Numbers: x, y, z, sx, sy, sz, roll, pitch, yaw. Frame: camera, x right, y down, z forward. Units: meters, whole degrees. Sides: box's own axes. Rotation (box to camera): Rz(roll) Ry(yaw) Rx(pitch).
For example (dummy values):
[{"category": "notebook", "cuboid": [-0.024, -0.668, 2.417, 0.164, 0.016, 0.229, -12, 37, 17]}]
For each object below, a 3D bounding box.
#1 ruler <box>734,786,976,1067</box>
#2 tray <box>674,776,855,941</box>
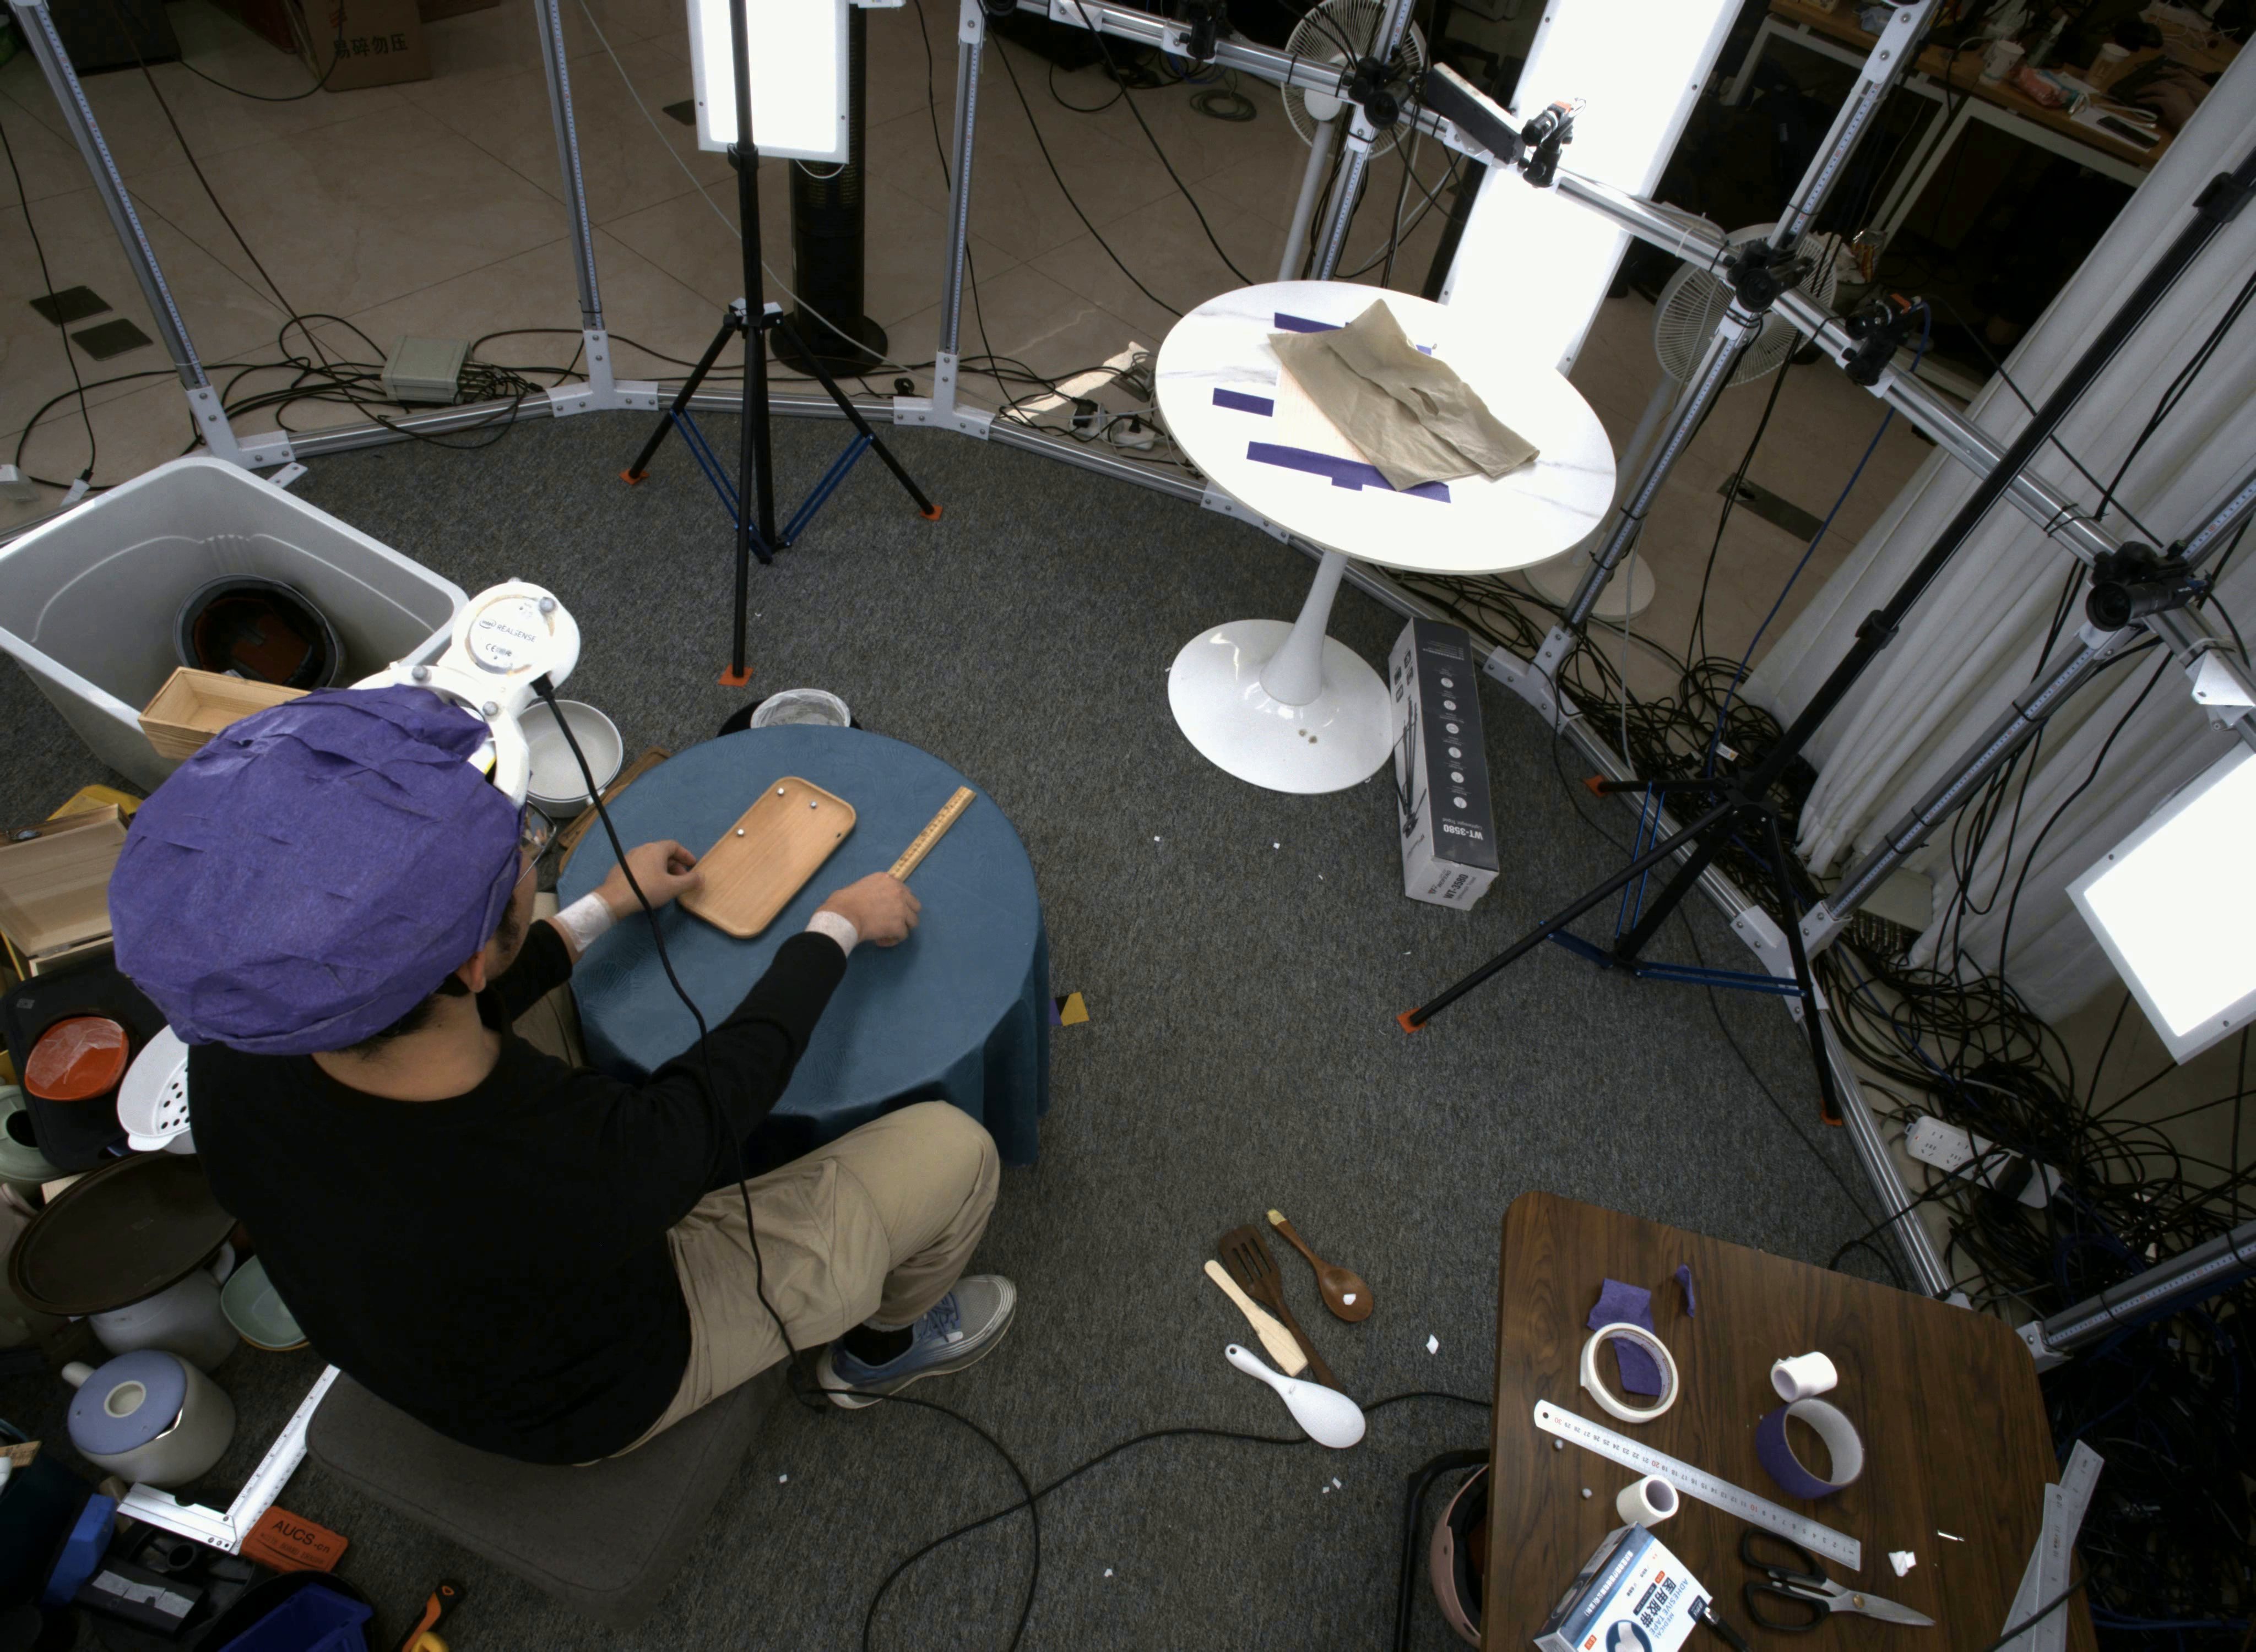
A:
[{"category": "ruler", "cuboid": [-0.336, 0.110, 1.657, 0.026, 0.006, 0.498, 28, 52, 10]}, {"category": "tray", "cuboid": [-0.465, 0.037, 1.669, 0.128, 0.023, 0.249, 28, 53, 9]}]
